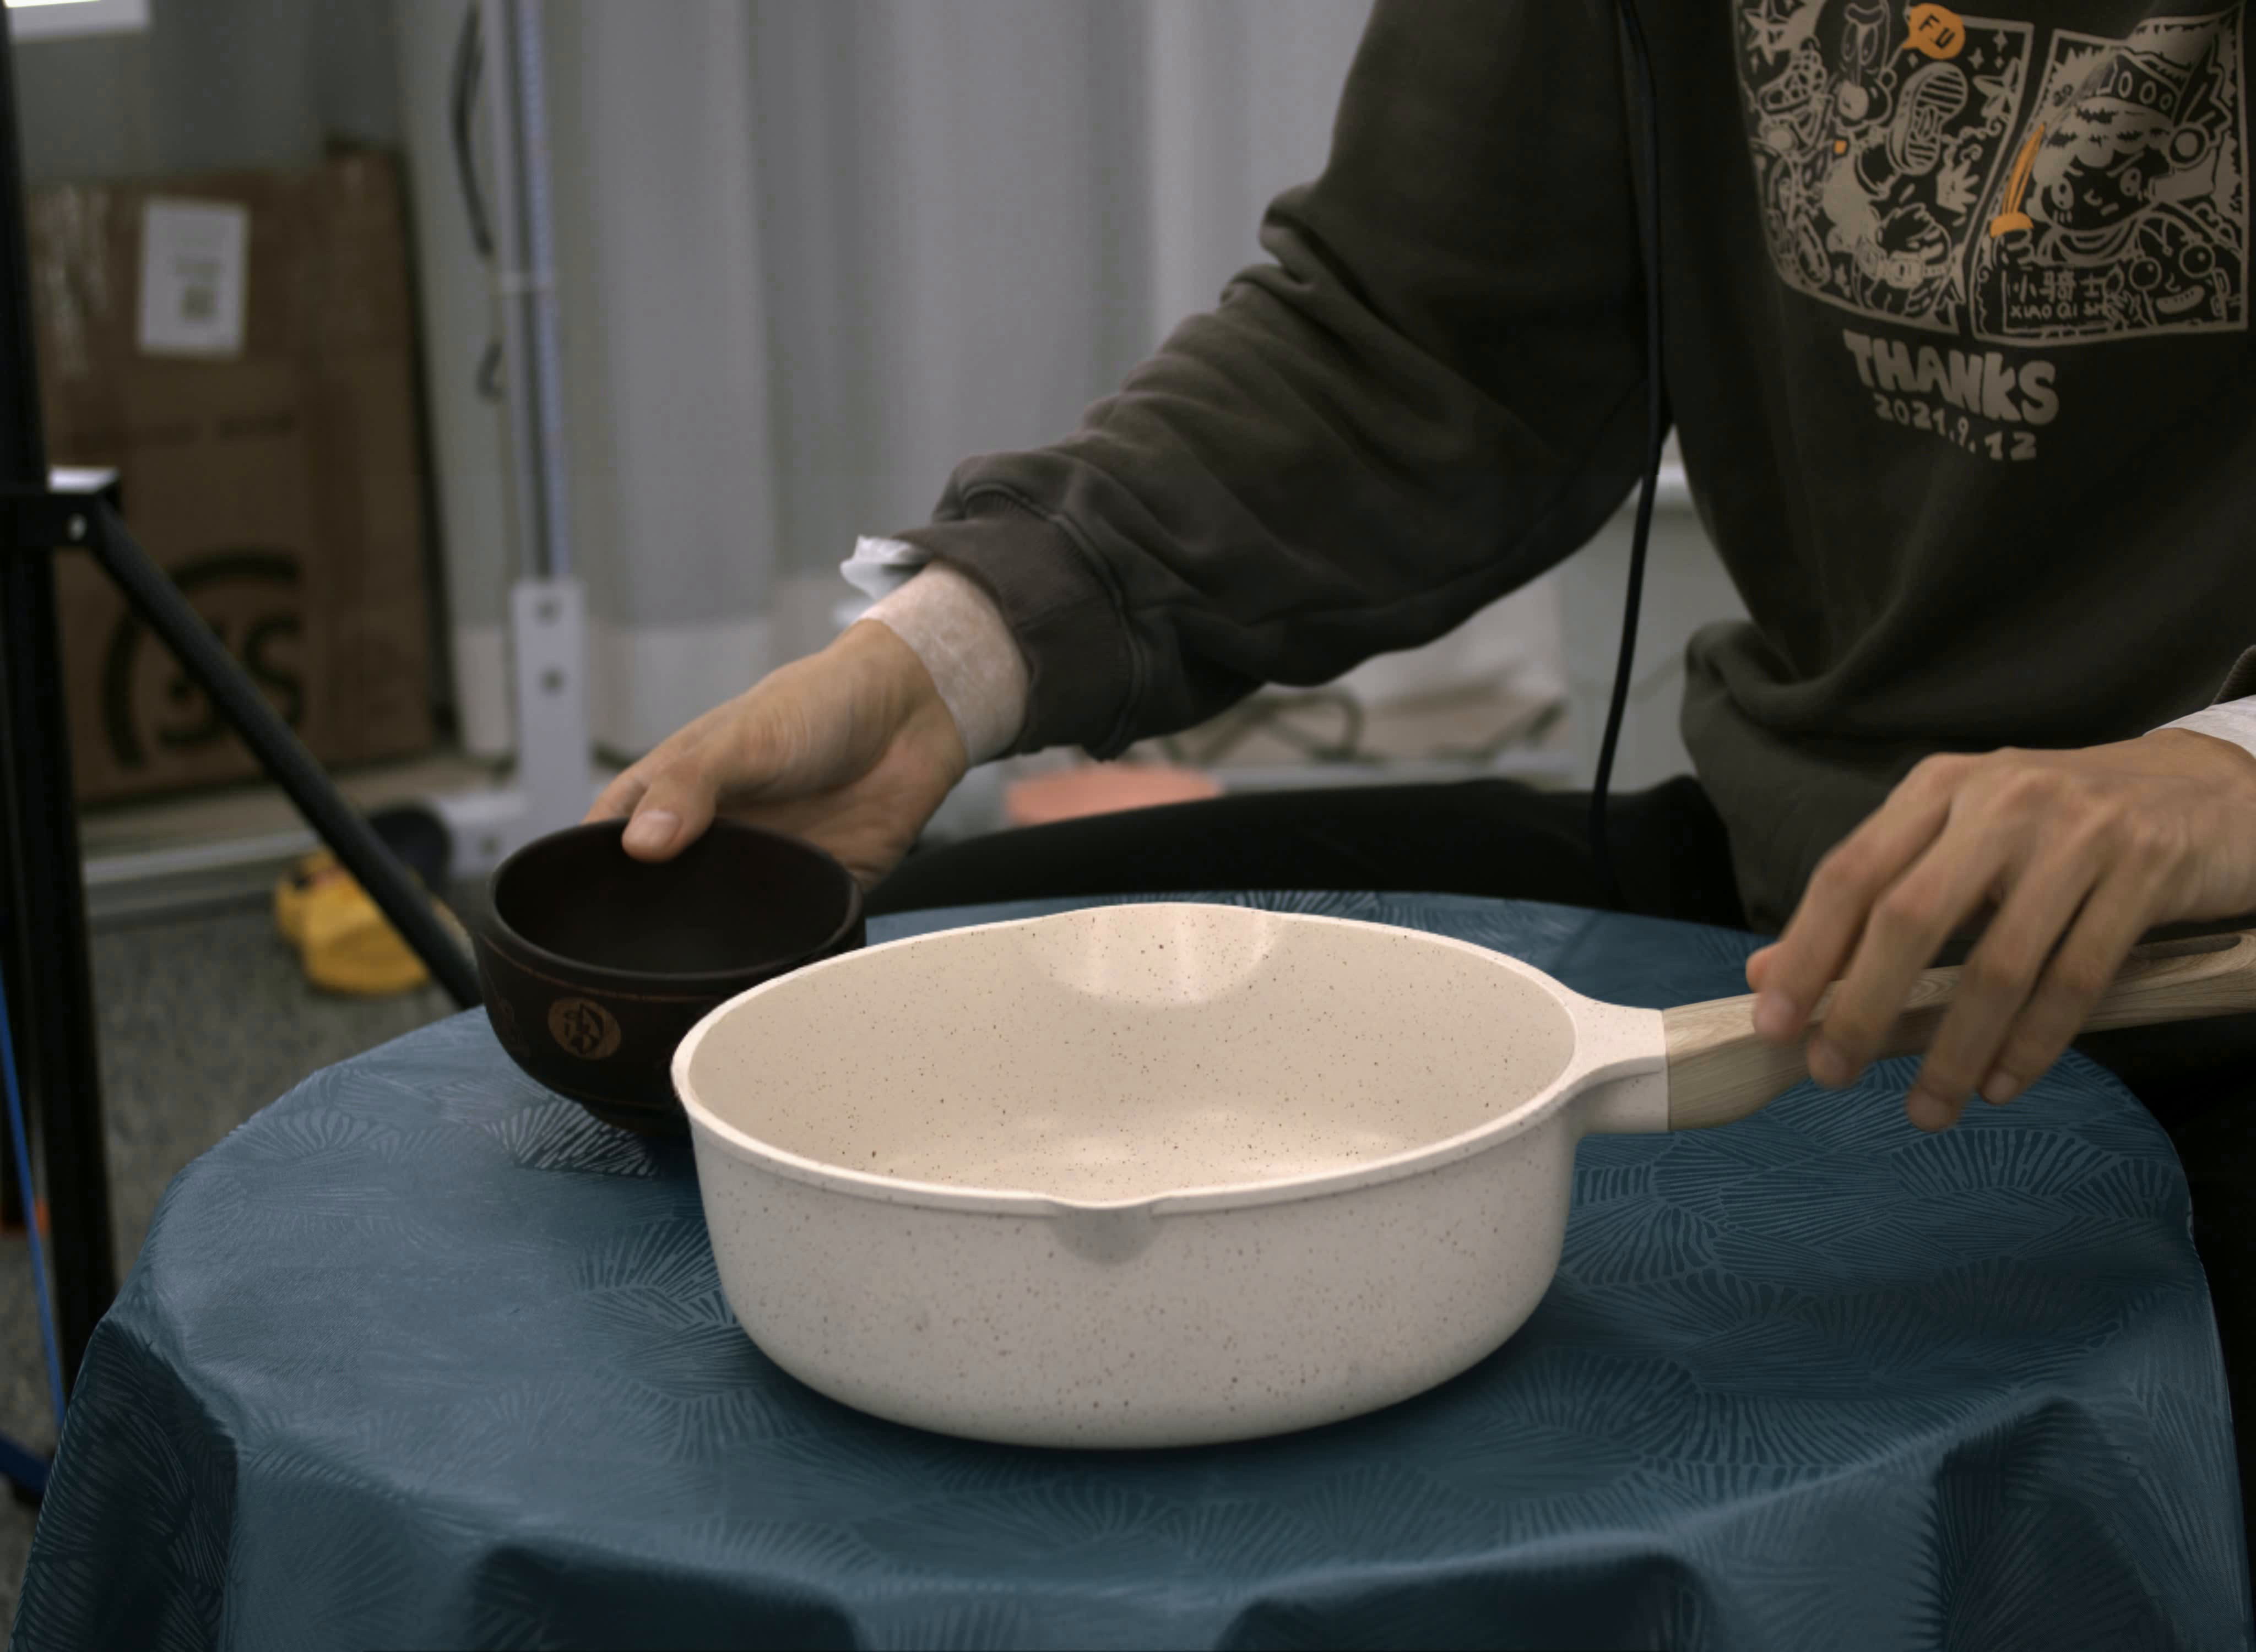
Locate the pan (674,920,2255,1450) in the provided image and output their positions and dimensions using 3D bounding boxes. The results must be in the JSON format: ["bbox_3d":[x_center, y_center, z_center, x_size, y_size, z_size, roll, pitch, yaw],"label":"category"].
[{"bbox_3d":[0.095,0.089,1.433,0.434,0.102,0.263,-1,14,5],"label":"pan"}]

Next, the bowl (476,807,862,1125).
[{"bbox_3d":[-0.140,0.048,1.629,0.117,0.070,0.119,2,23,-2],"label":"bowl"}]
